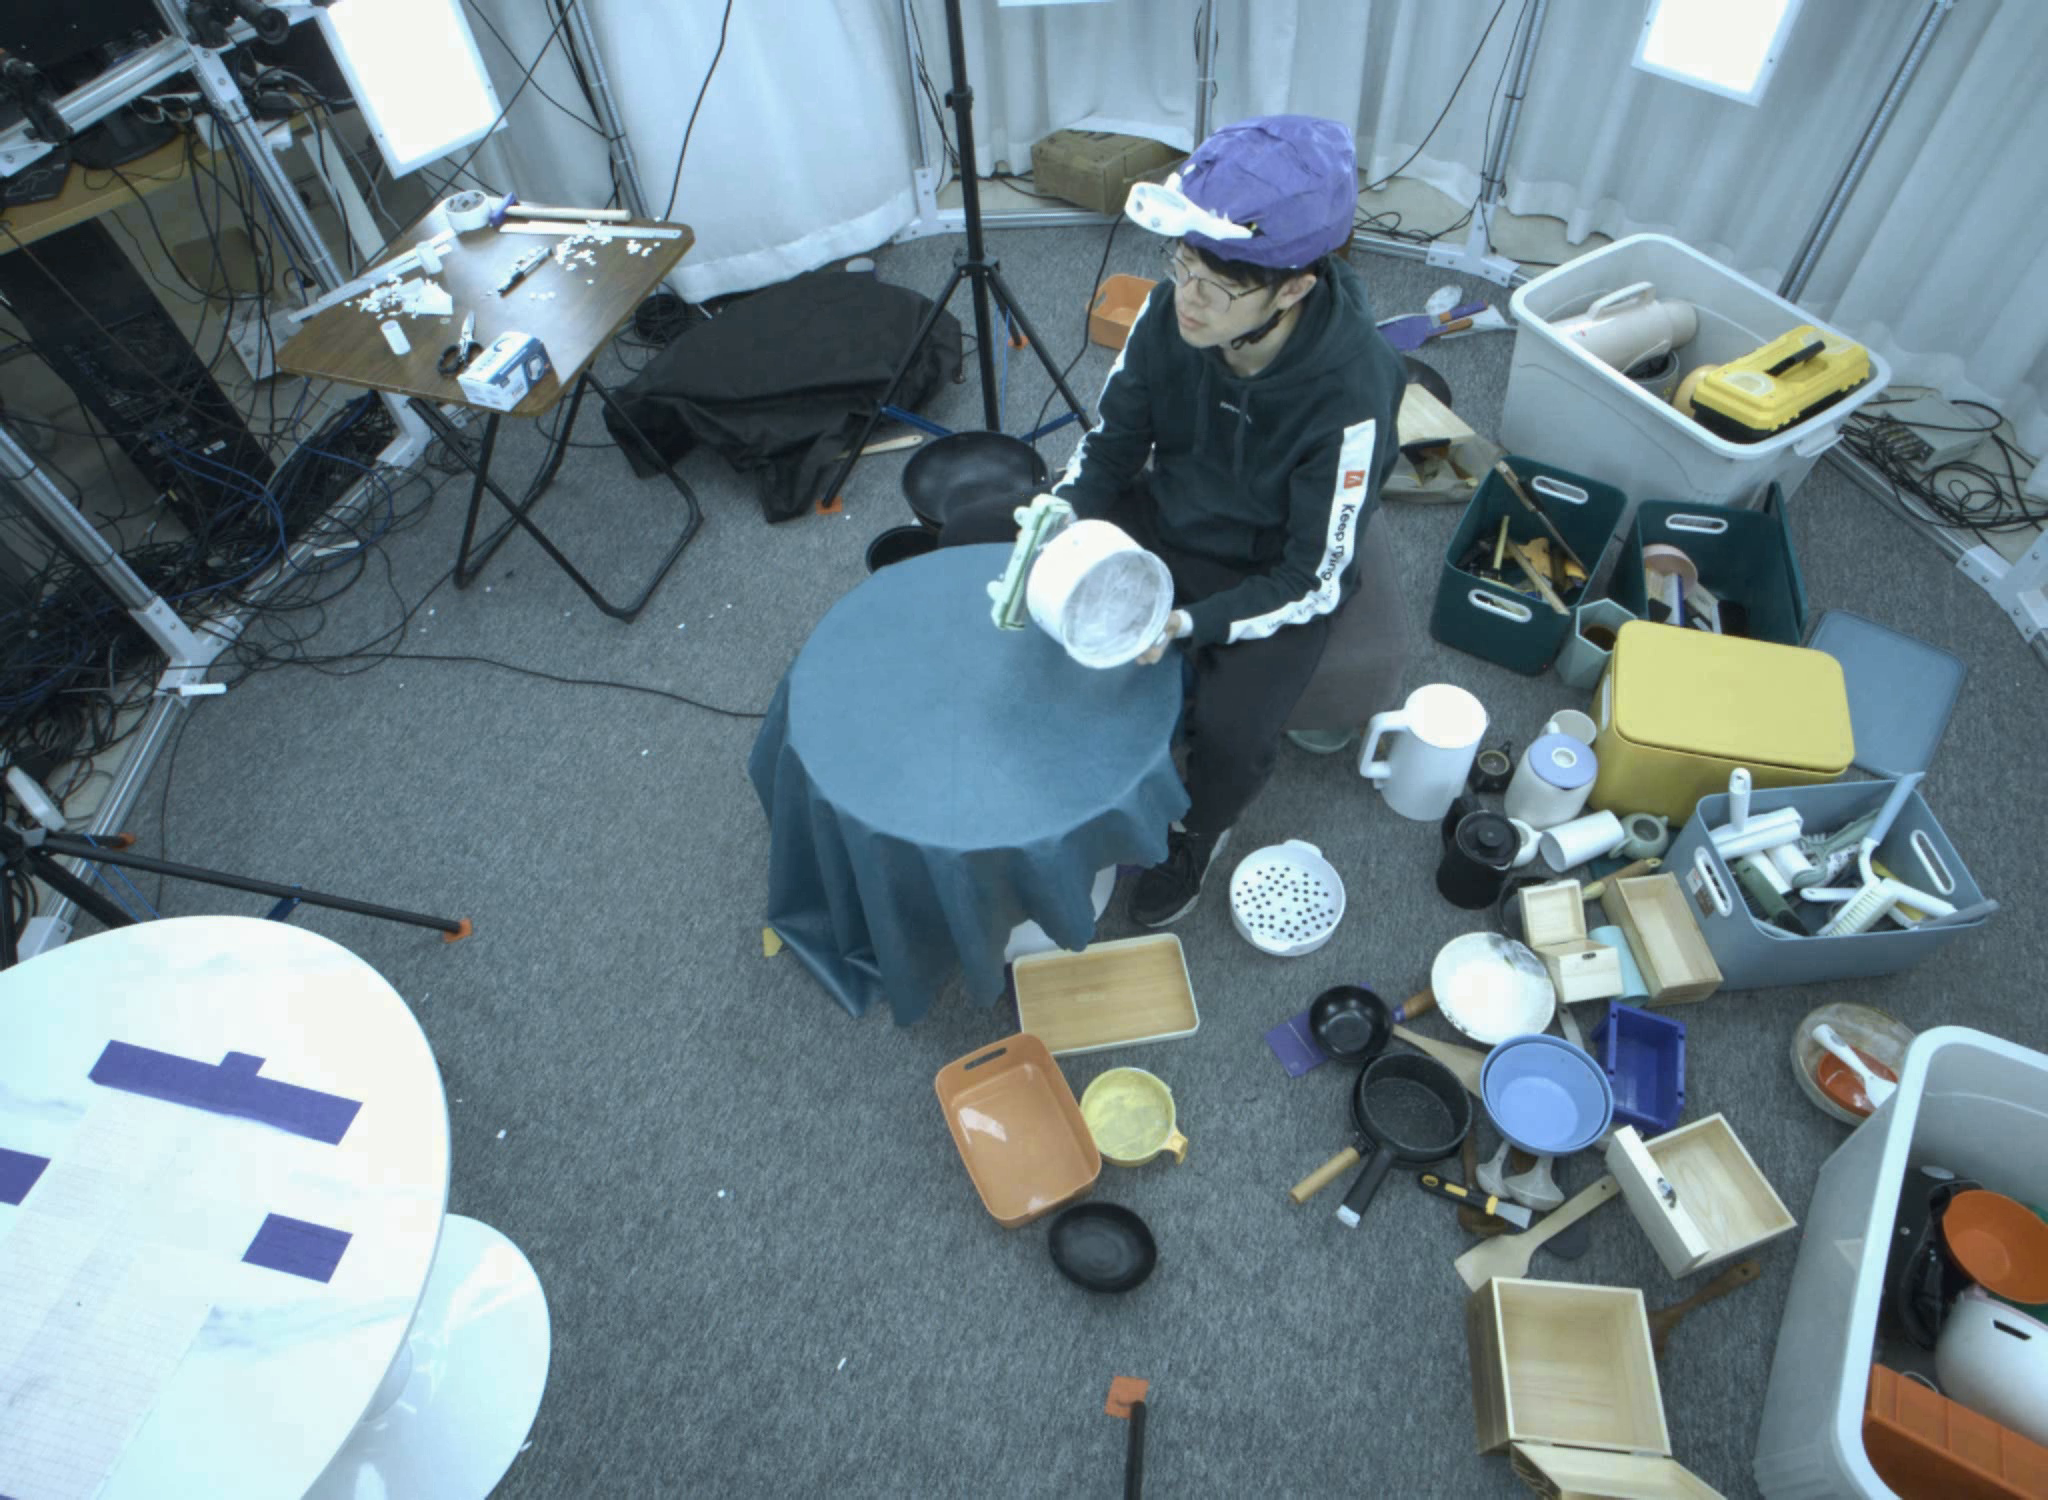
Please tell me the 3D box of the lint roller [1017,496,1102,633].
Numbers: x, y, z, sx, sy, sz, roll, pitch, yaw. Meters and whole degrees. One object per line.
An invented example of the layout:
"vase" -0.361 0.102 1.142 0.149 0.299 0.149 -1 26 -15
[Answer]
"lint roller" 0.056 -0.282 1.771 0.082 0.199 0.183 23 25 1

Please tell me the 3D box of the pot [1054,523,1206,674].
"pot" 0.158 -0.202 1.703 0.178 0.239 0.133 -51 43 11
